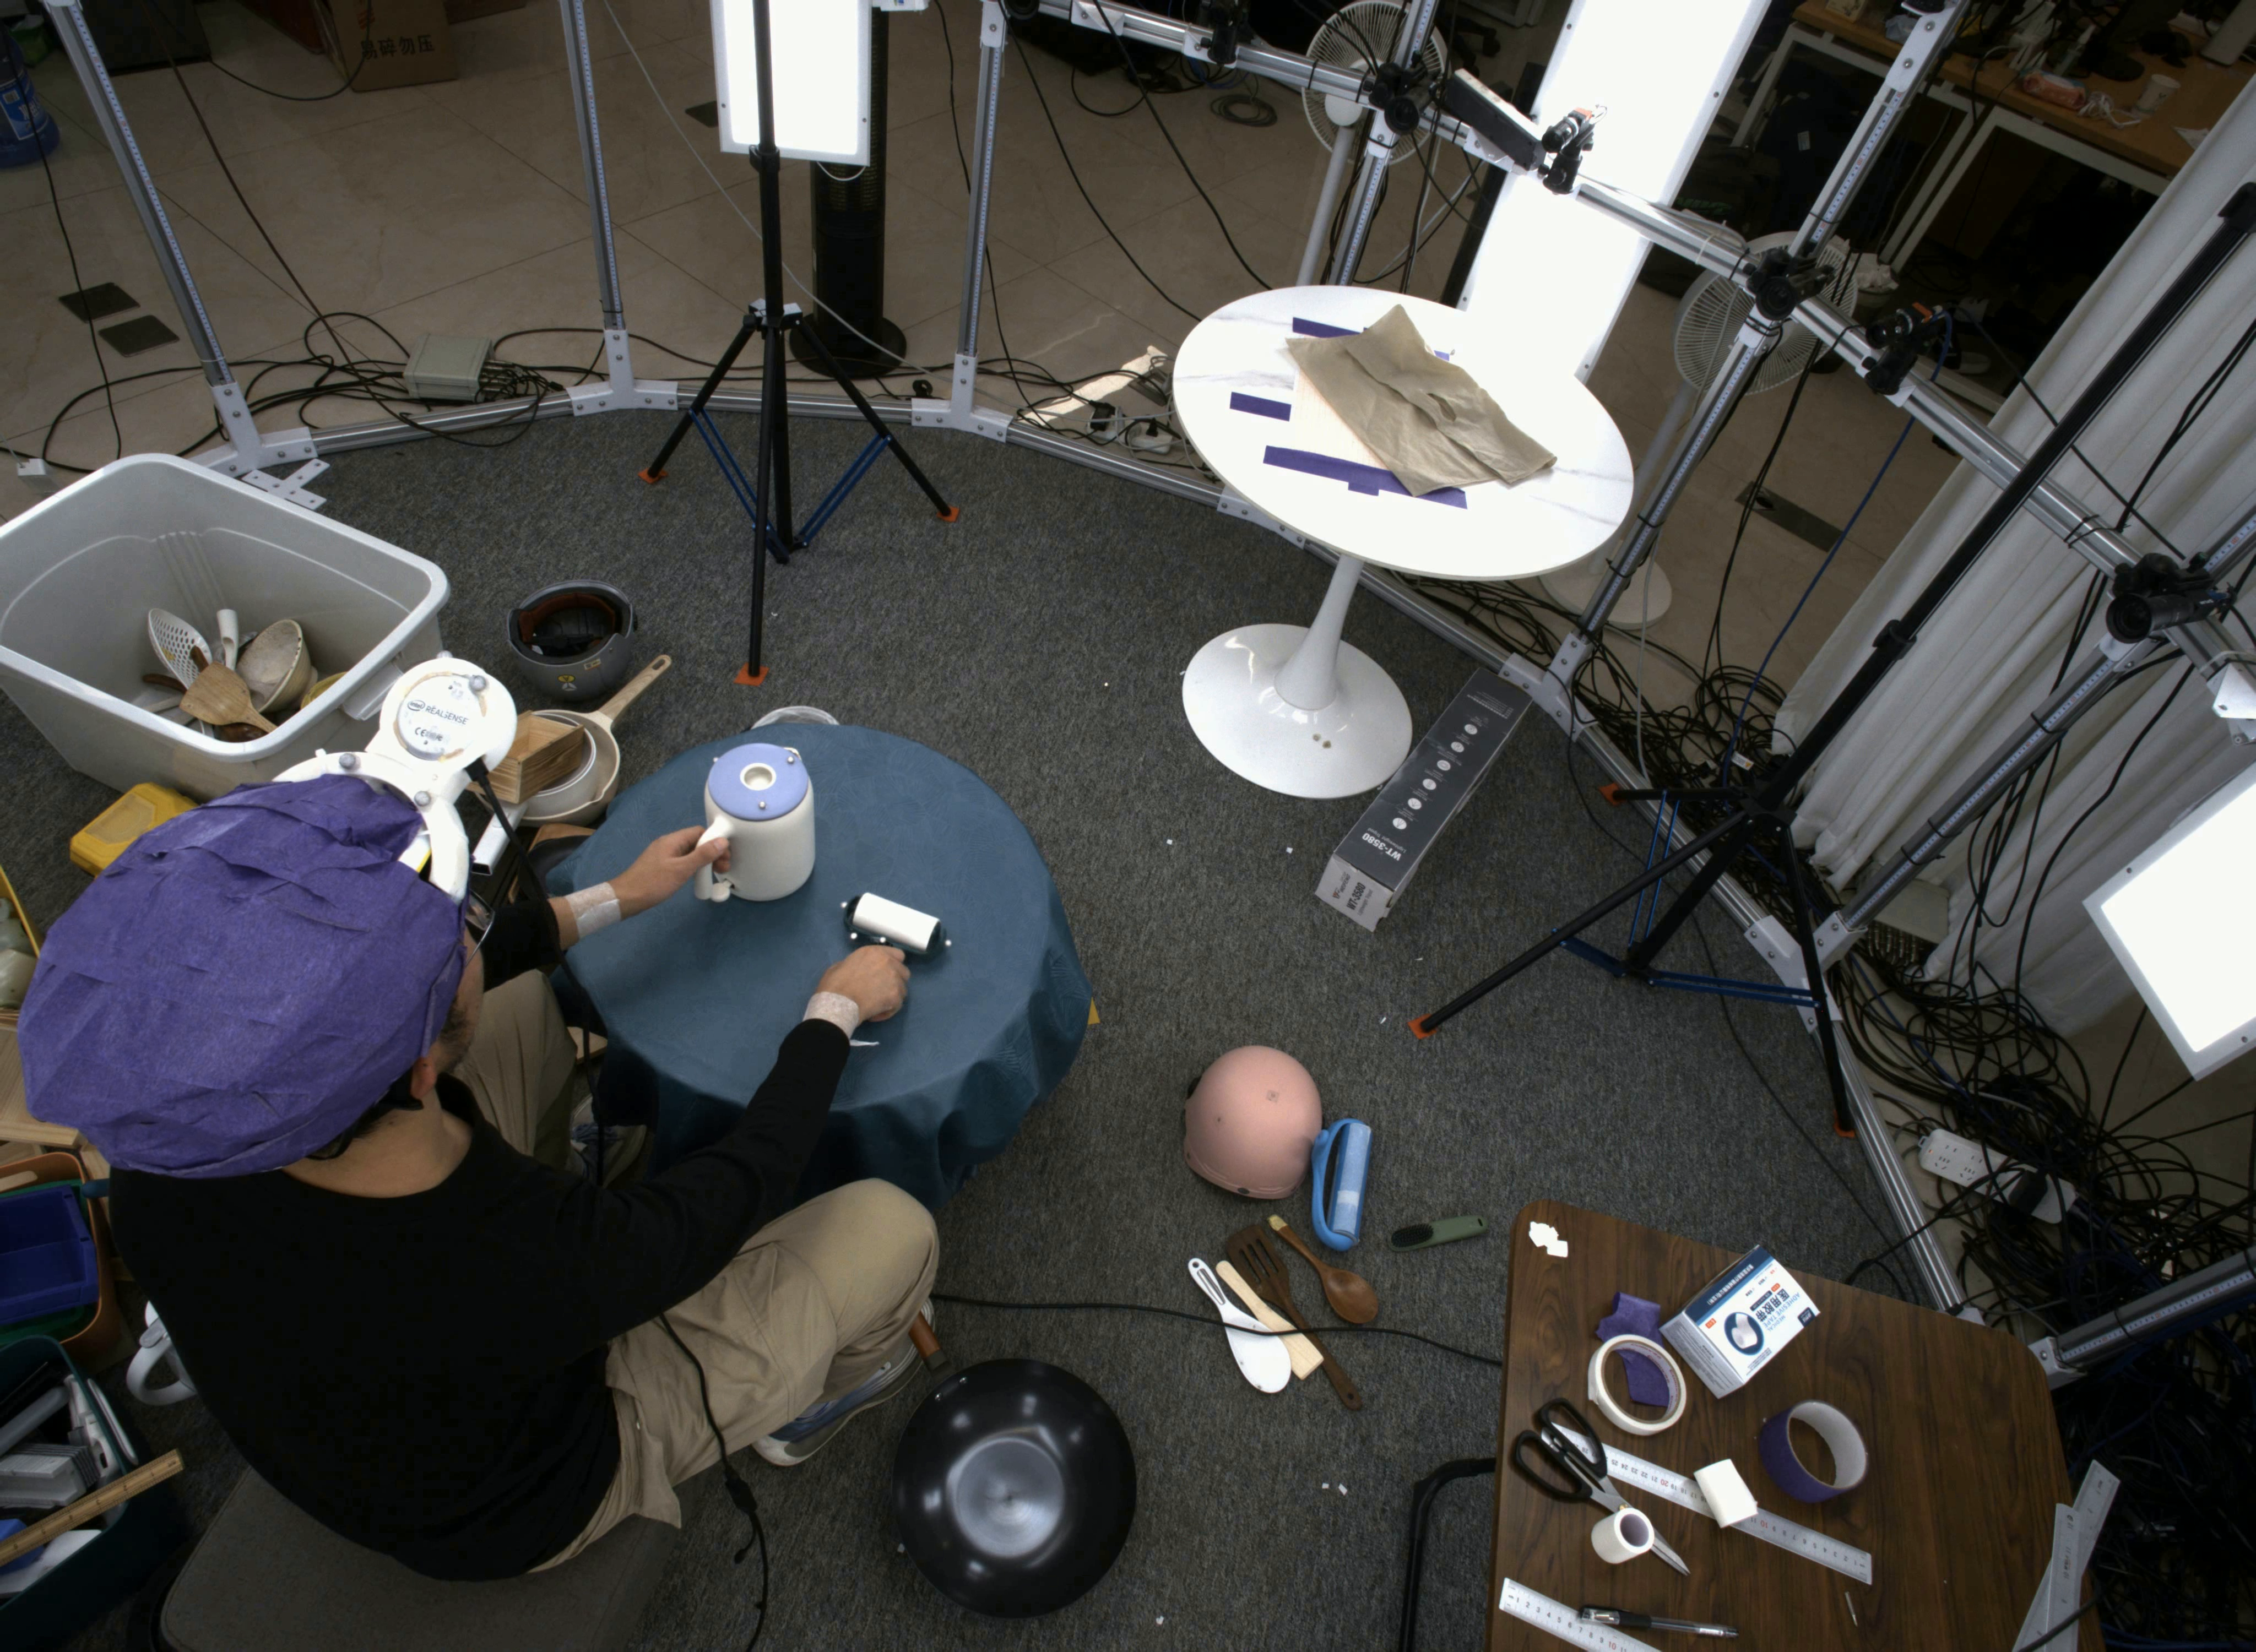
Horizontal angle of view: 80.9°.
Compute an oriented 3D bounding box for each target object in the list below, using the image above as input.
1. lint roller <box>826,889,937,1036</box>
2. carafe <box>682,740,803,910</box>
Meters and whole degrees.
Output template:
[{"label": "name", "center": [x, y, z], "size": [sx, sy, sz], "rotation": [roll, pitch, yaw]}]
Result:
[{"label": "lint roller", "center": [-0.323, 0.169, 1.587], "size": [0.133, 0.049, 0.178], "rotation": [22, 52, 2]}, {"label": "carafe", "center": [-0.483, 0.011, 1.583], "size": [0.130, 0.186, 0.190], "rotation": [27, 54, 10]}]
